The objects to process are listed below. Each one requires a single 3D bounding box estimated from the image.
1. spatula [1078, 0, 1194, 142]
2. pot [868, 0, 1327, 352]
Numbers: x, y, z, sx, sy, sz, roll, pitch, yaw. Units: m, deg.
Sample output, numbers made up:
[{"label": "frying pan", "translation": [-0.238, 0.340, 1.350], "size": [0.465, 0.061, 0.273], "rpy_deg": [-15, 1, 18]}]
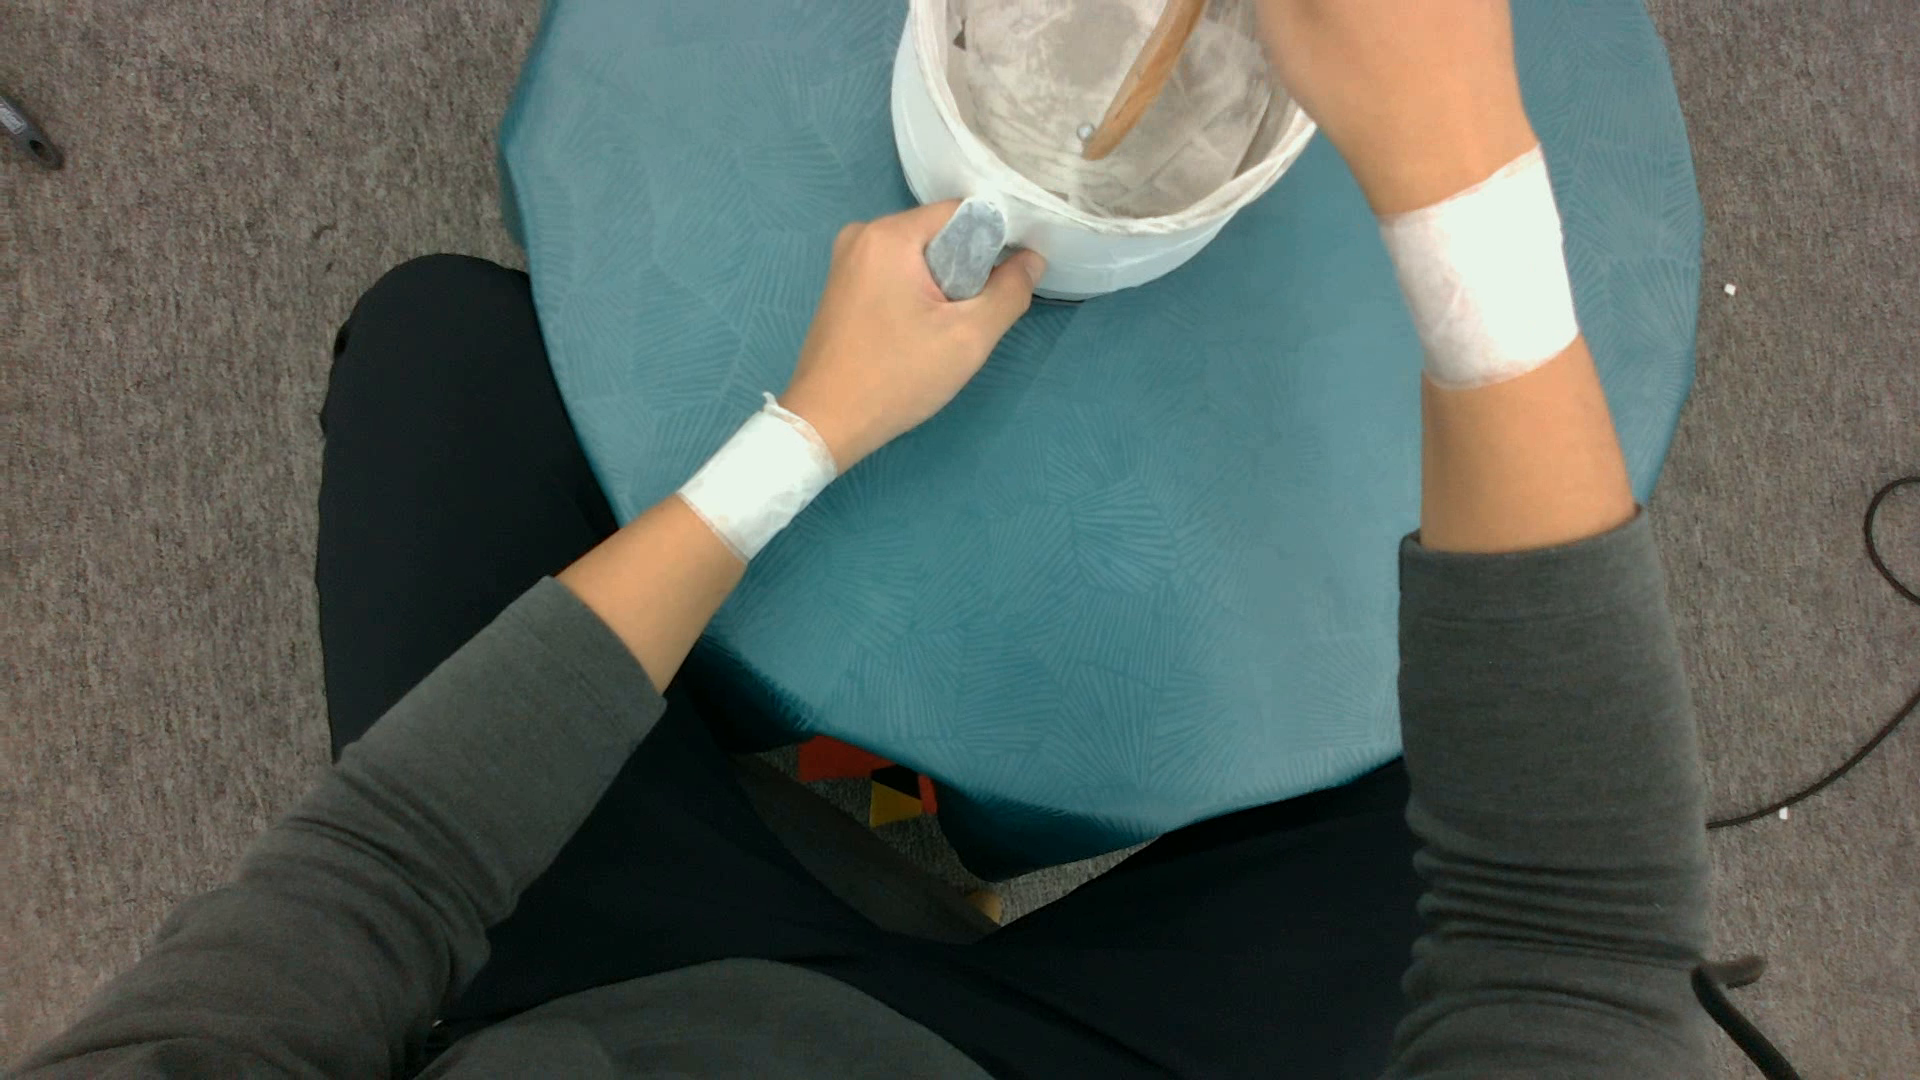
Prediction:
[{"label": "spatula", "translation": [0.092, -0.214, 0.435], "size": [0.018, 0.390, 0.096], "rpy_deg": [25, 88, -4]}, {"label": "pot", "translation": [0.041, -0.189, 0.616], "size": [0.178, 0.136, 0.234], "rpy_deg": [35, 83, -4]}]
